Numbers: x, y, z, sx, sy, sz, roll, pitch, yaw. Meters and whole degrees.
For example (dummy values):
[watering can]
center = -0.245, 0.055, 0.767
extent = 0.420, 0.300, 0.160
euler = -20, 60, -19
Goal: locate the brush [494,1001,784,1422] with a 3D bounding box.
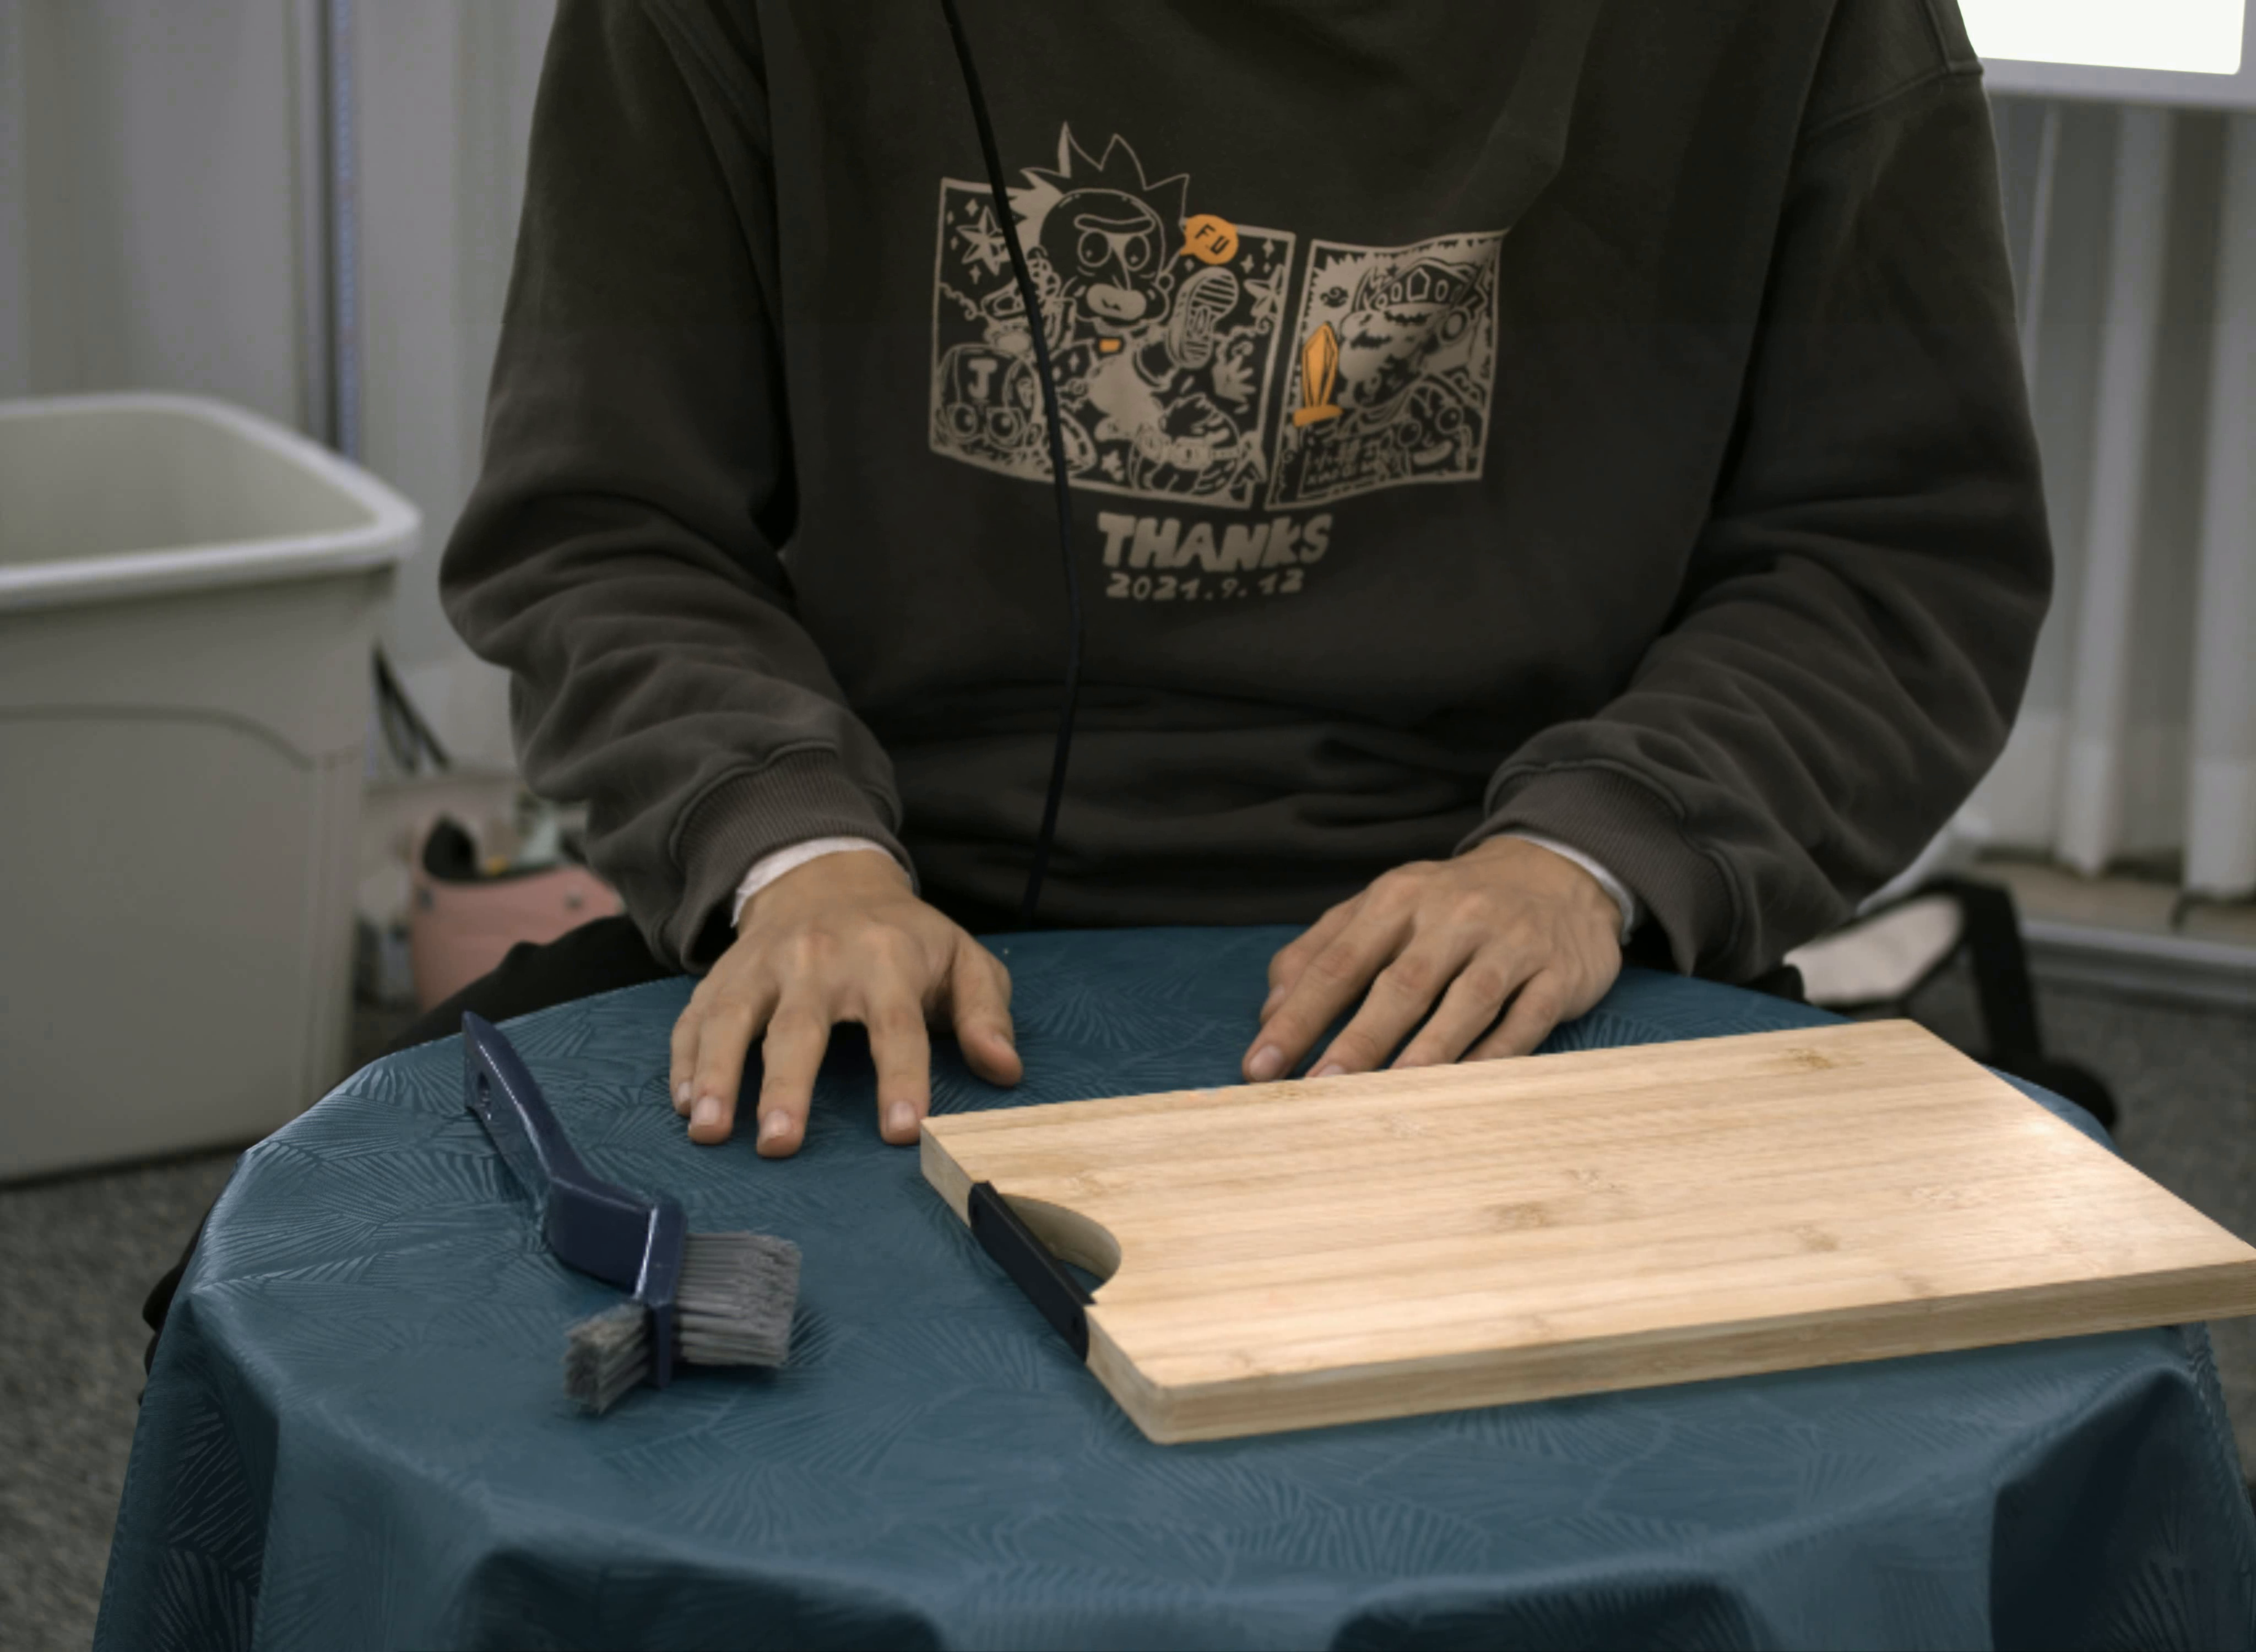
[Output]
[brush]
center = -0.174, 0.111, 1.573
extent = 0.096, 0.034, 0.270
euler = -6, 18, -24

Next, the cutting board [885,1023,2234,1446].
[cutting board]
center = 0.125, 0.118, 1.586
extent = 0.349, 0.024, 0.248
euler = -5, 16, -19
